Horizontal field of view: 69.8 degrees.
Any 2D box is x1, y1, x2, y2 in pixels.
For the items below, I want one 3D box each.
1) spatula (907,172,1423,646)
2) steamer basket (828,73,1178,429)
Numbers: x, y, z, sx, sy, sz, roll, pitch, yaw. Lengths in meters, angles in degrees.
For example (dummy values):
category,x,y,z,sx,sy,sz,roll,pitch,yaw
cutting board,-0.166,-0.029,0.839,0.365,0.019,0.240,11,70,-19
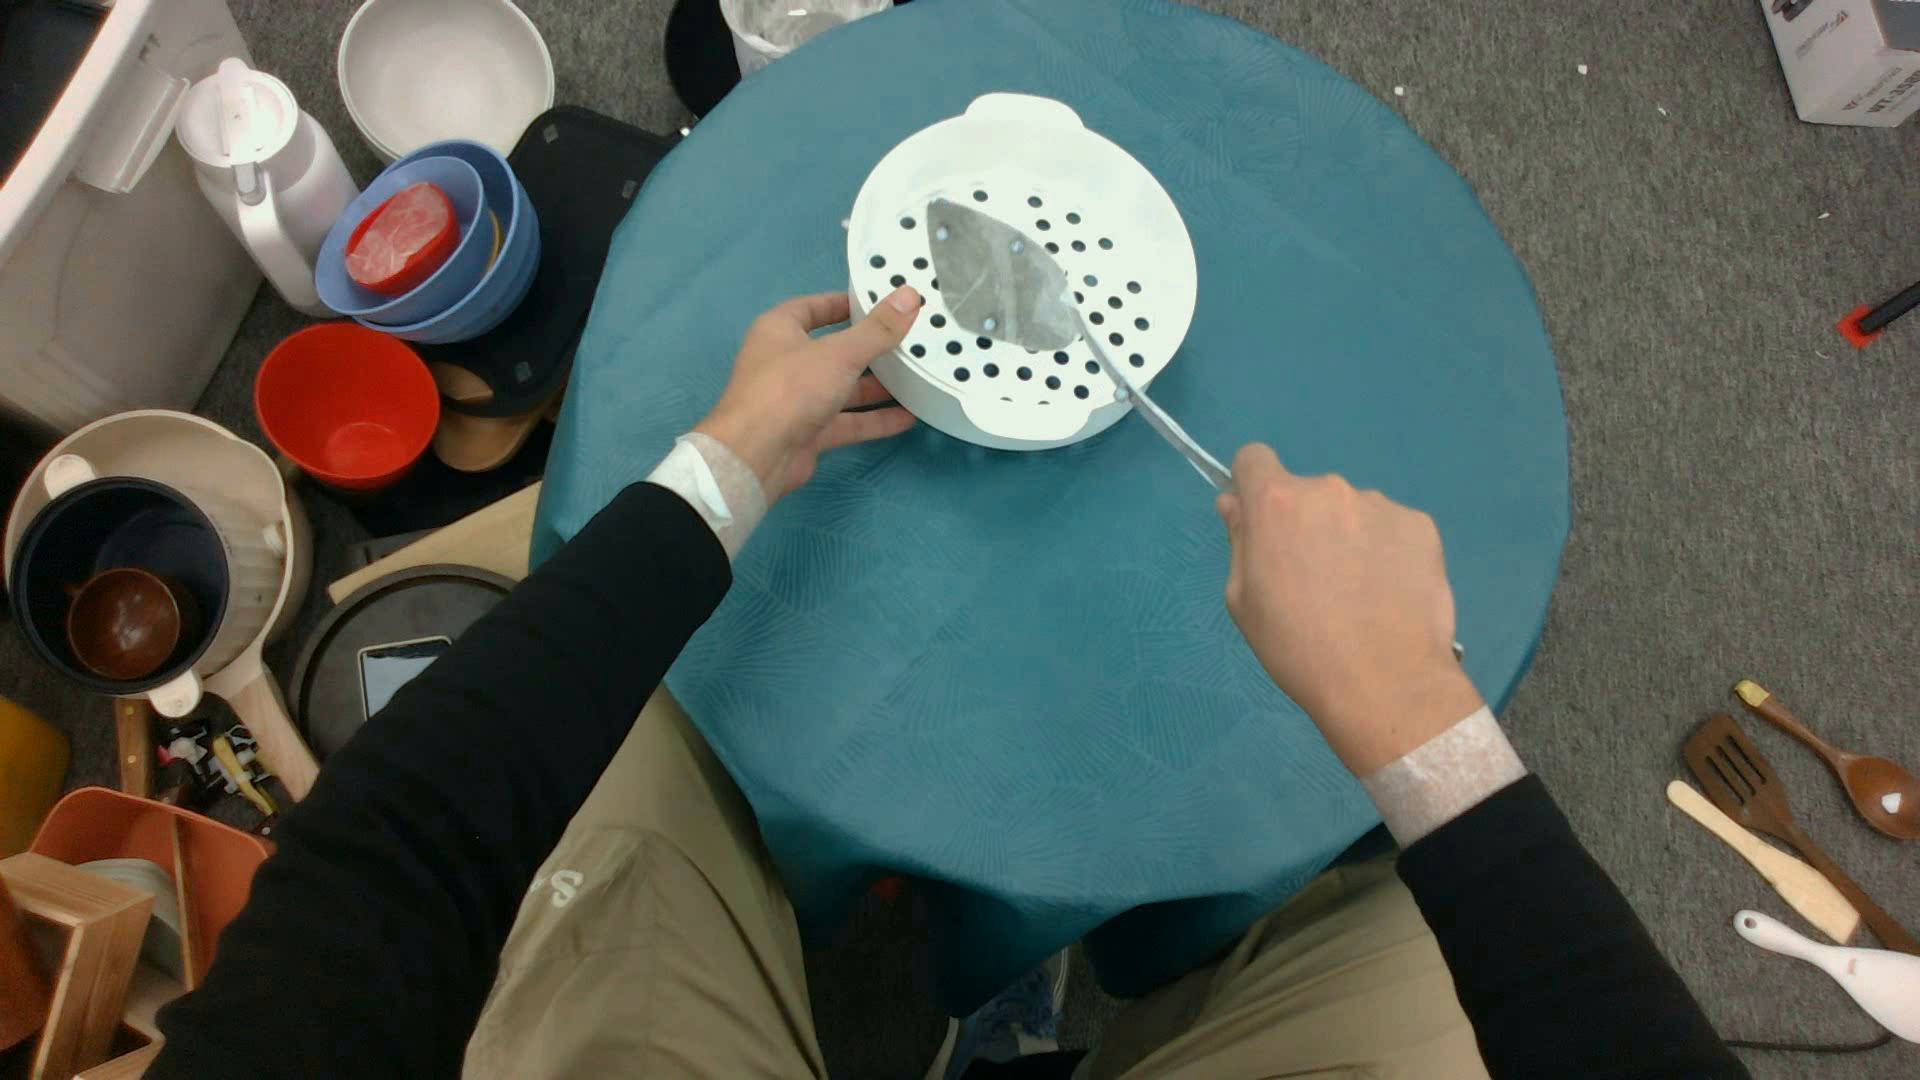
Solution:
category,x,y,z,sx,sy,sz,roll,pitch,yaw
spatula,0.086,-0.068,0.684,0.045,0.098,0.365,-27,54,-19
steamer basket,0.022,-0.162,0.805,0.202,0.069,0.231,4,67,-8
